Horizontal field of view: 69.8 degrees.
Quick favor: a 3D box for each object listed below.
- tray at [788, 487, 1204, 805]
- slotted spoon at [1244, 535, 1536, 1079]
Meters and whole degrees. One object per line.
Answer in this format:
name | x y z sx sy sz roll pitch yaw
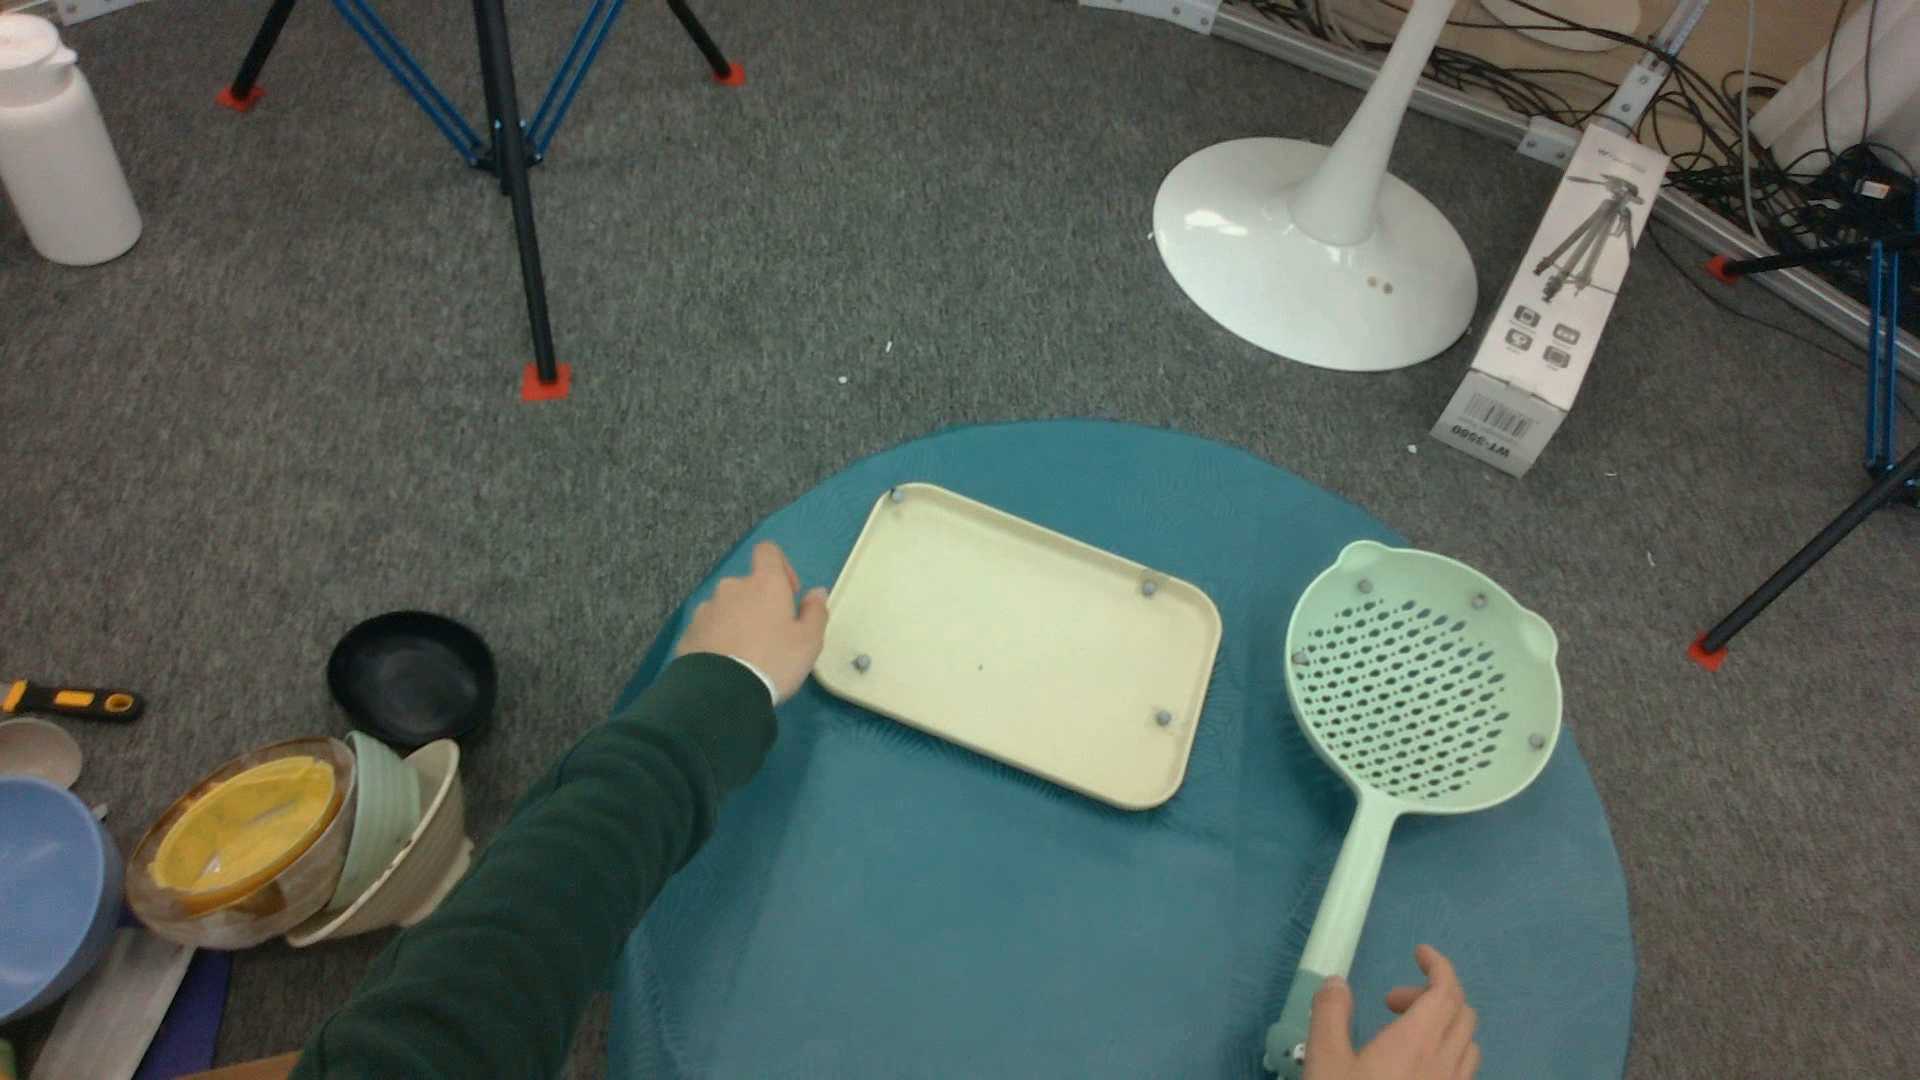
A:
tray | 0.026 0.062 0.854 0.239 0.017 0.172 20 51 3
slotted spoon | 0.225 0.157 0.797 0.169 0.075 0.361 25 53 7
